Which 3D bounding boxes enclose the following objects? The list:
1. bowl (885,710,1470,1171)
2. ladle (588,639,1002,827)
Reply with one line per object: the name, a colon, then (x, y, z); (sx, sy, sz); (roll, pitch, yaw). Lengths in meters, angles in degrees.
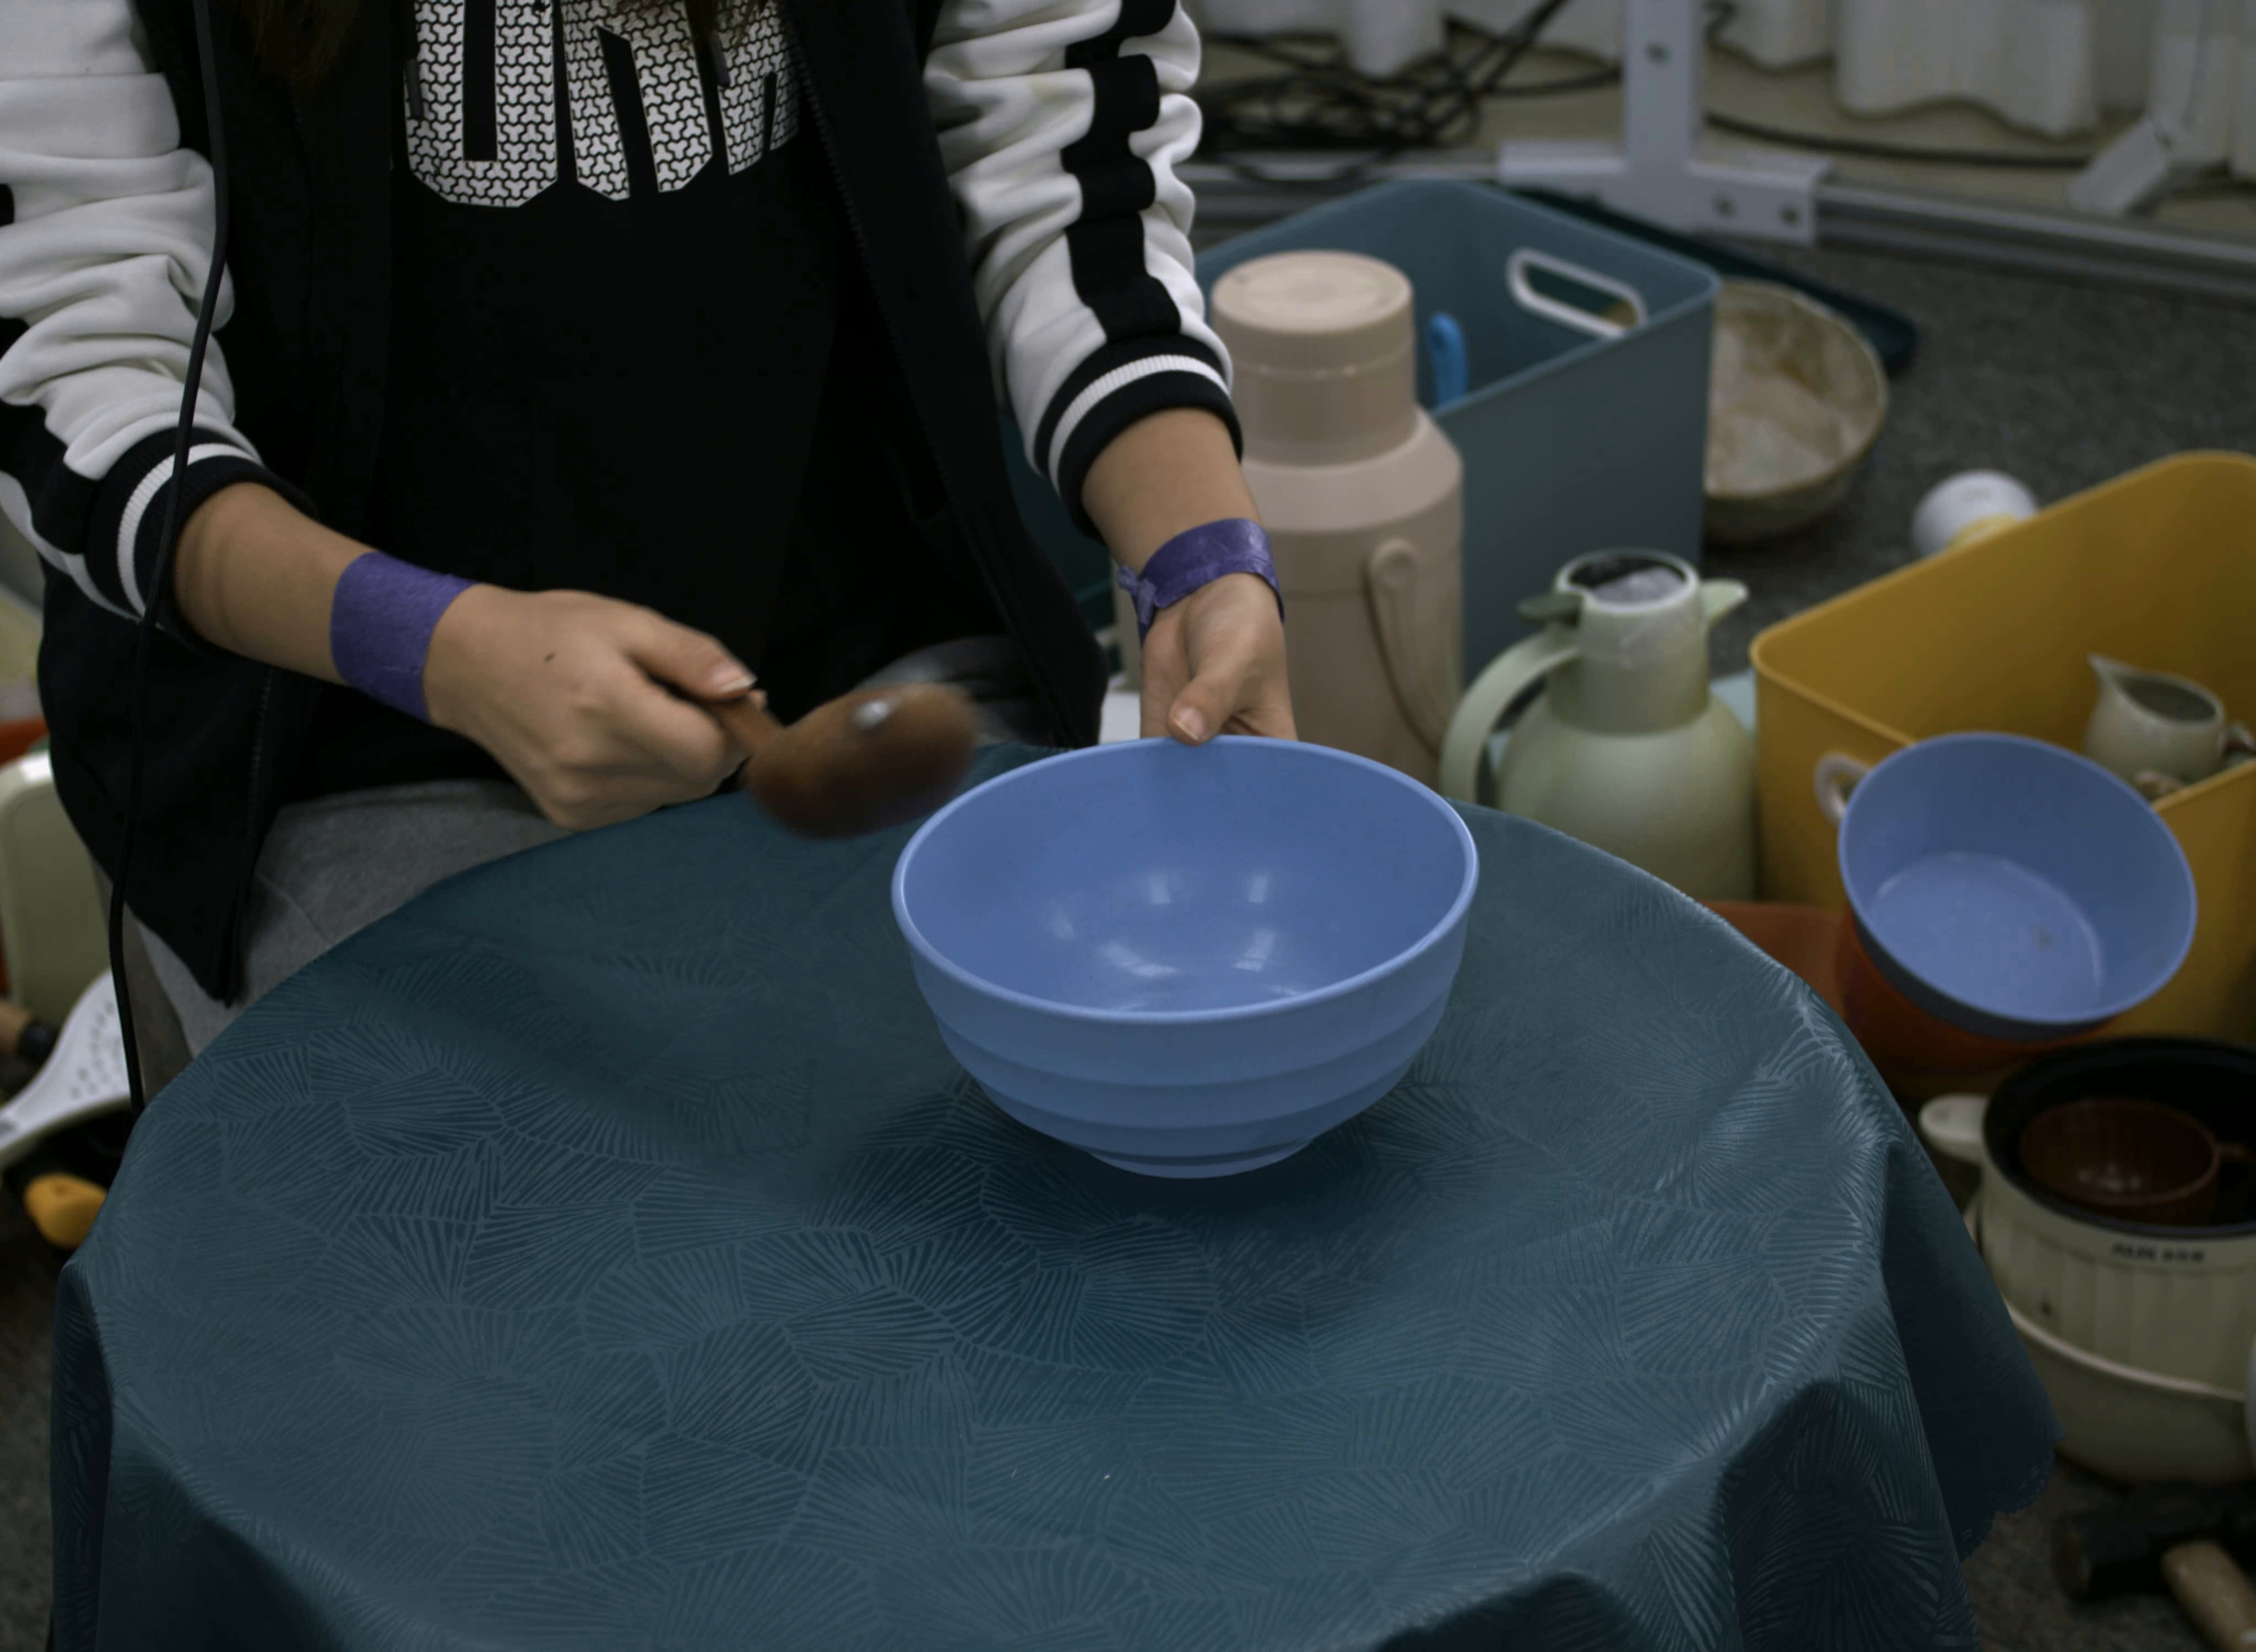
bowl: (0.021, 0.051, 1.894); (0.195, 0.094, 0.200); (-5, 32, 4)
ladle: (-0.120, -0.048, 1.845); (0.076, 0.065, 0.260); (0, 14, -27)
